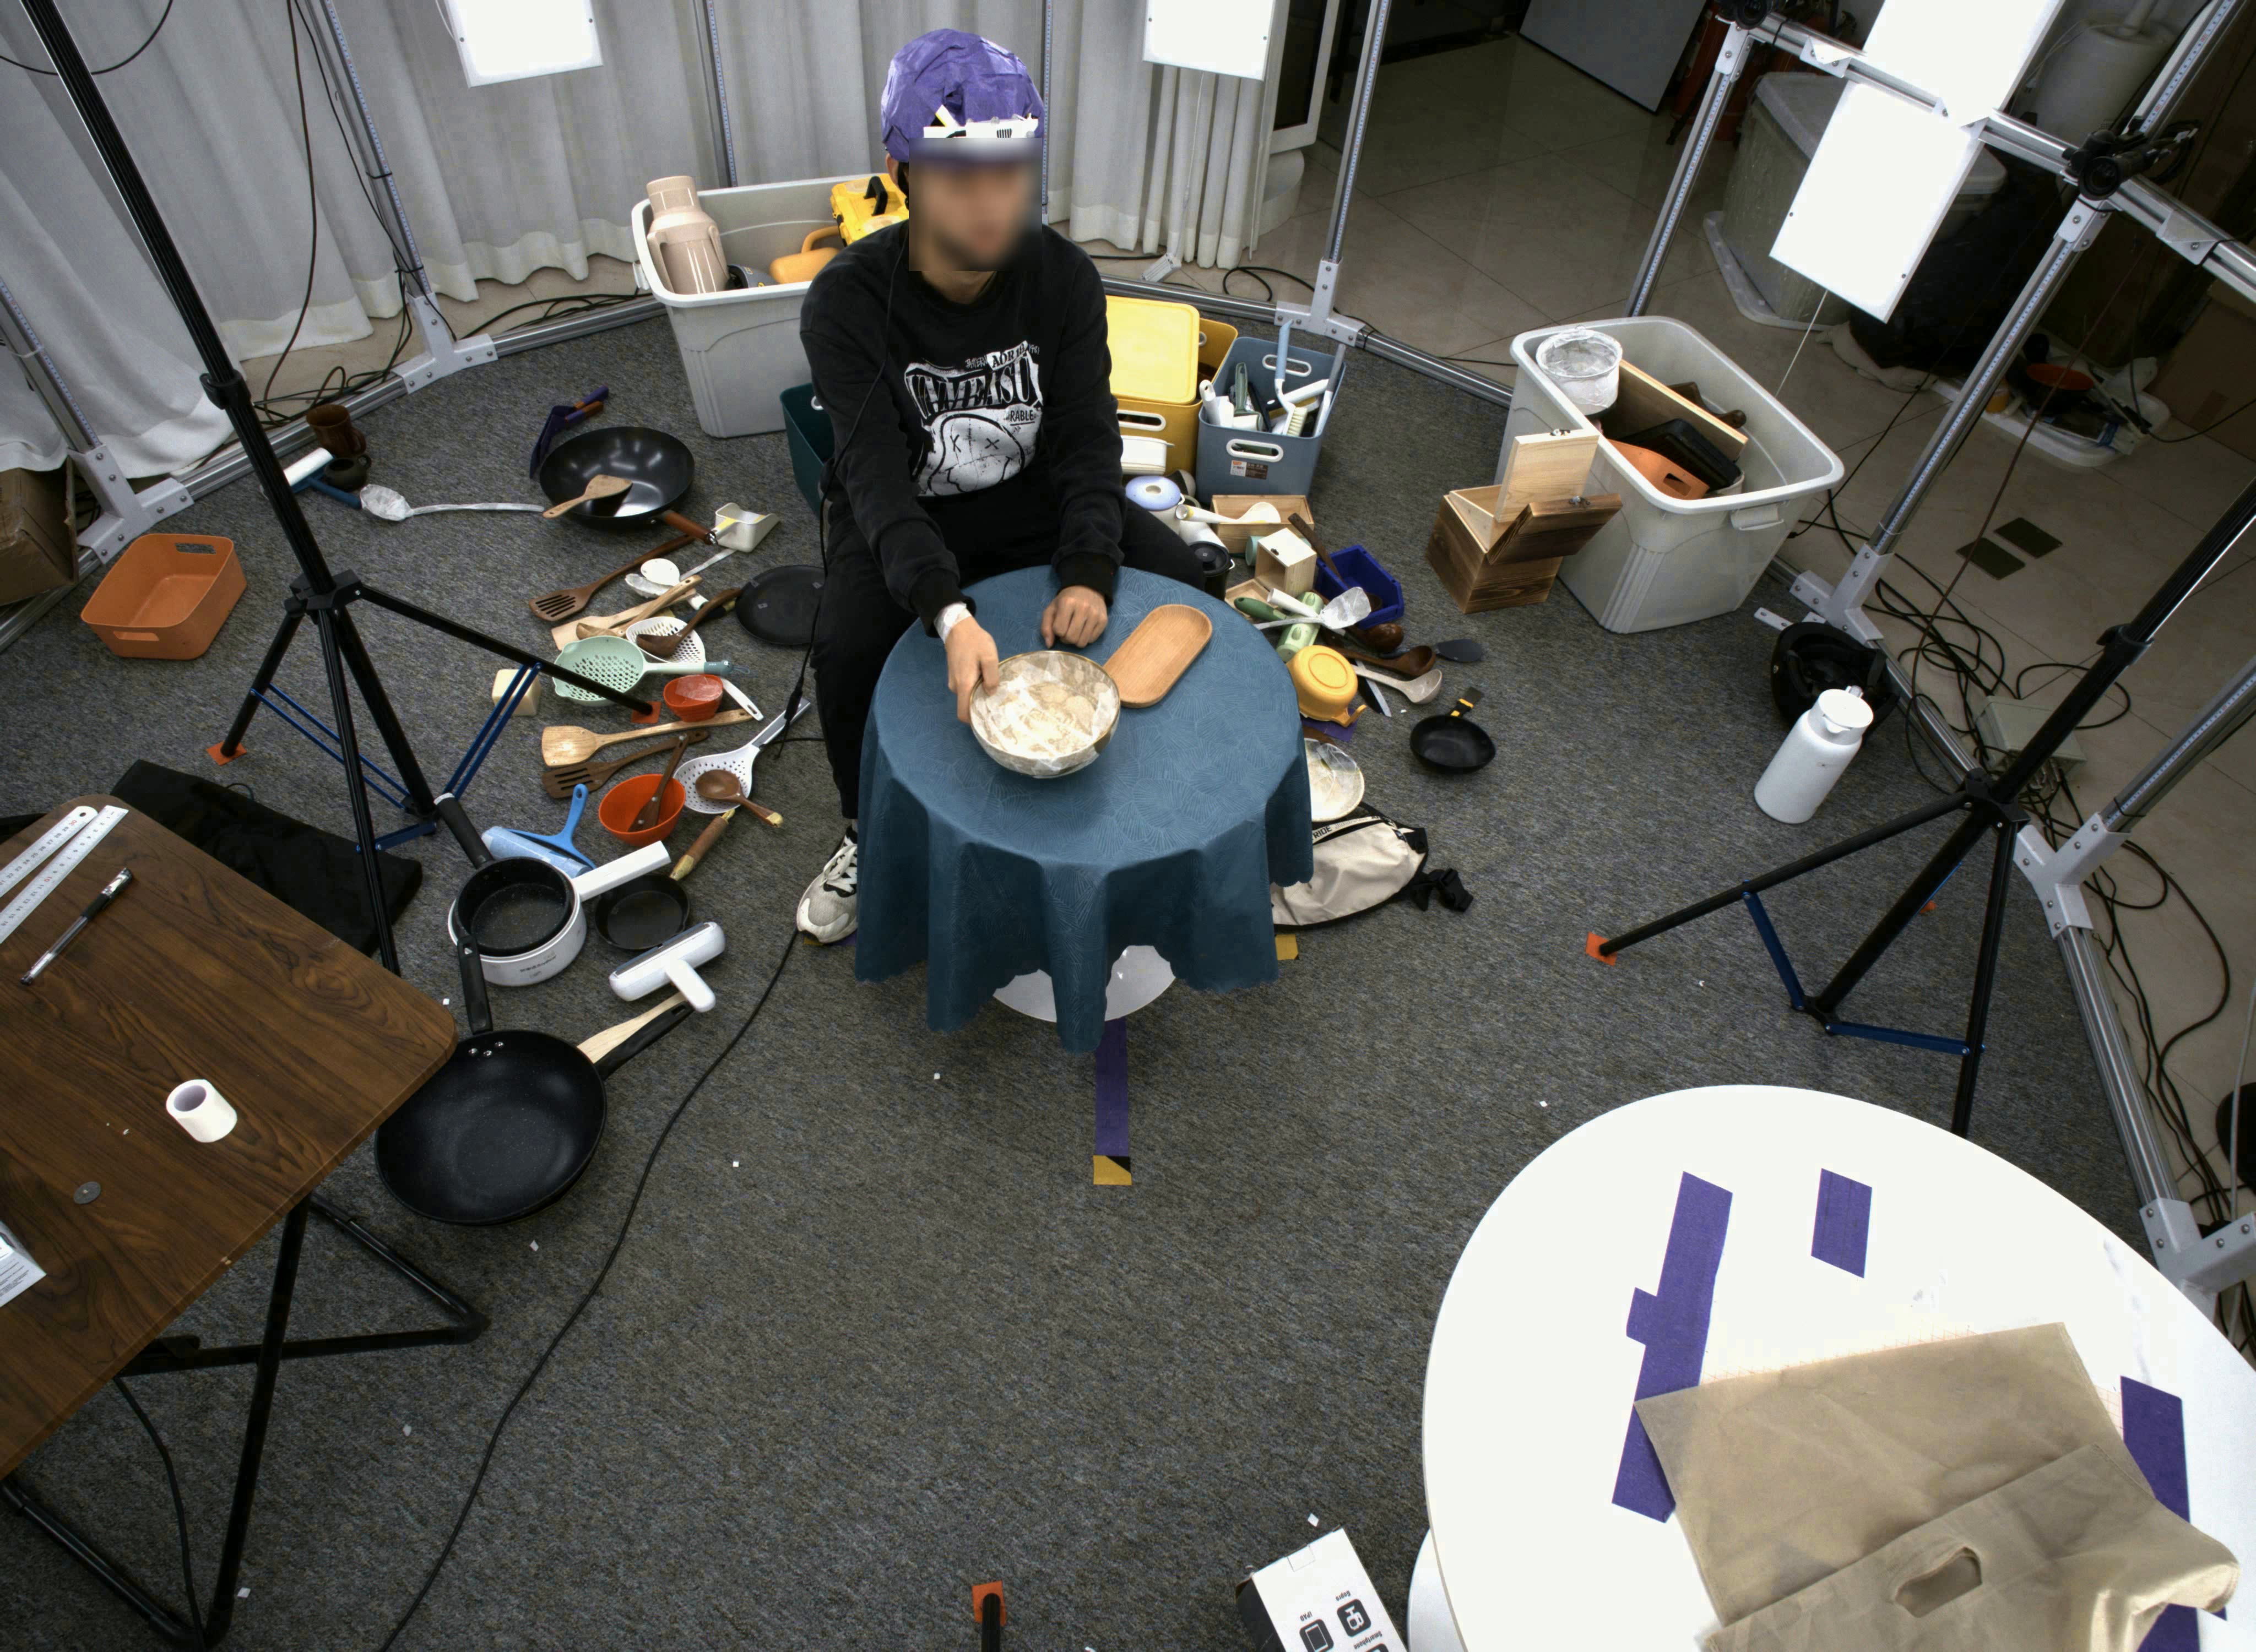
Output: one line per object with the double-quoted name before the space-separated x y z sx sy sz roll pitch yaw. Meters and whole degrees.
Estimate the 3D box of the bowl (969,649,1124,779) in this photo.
"bowl" -0.106 -0.137 1.734 0.214 0.092 0.220 -1 49 1

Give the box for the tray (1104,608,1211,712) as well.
"tray" 0.042 -0.247 1.893 0.102 0.020 0.235 23 53 18
